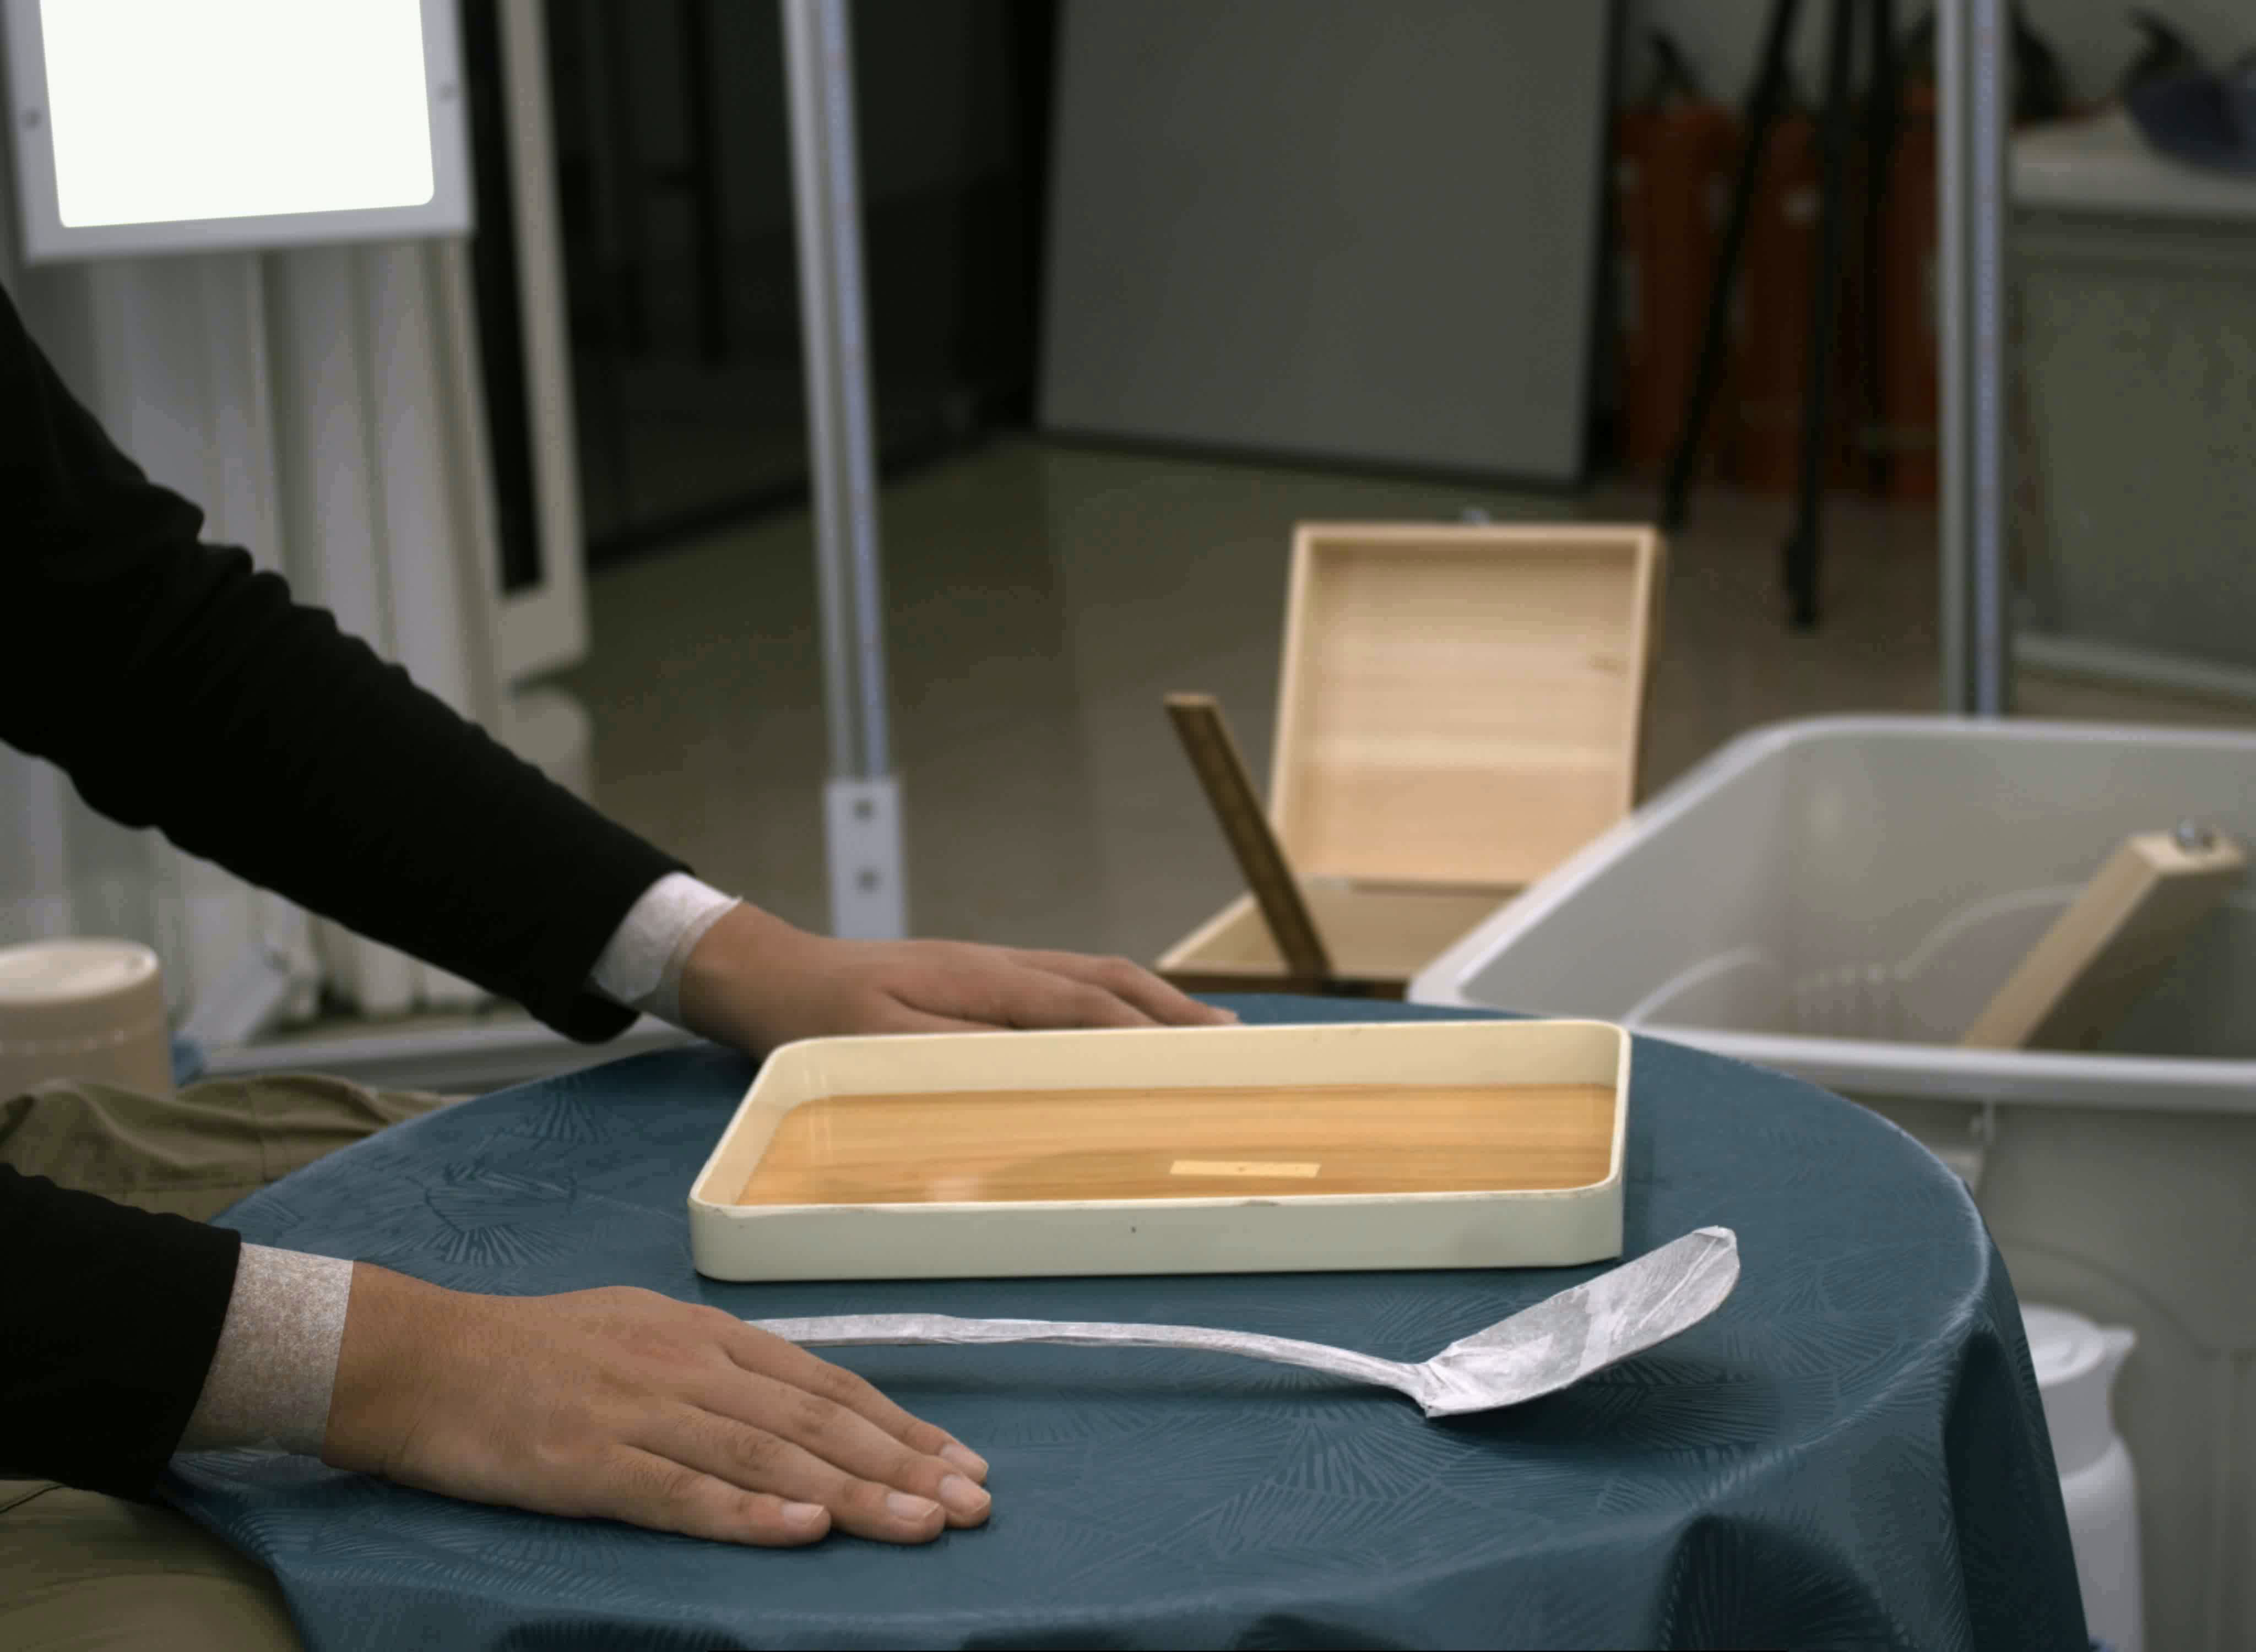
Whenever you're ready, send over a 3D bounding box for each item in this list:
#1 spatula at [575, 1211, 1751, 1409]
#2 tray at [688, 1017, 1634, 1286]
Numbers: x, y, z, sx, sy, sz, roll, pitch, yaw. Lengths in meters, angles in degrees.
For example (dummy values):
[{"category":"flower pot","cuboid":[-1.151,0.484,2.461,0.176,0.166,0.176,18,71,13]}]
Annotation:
[{"category":"spatula","cuboid":[0.003,0.146,1.587,0.363,0.045,0.098,-1,15,14]},{"category":"tray","cuboid":[0.016,0.106,1.770,0.298,0.028,0.191,-2,14,9]}]
